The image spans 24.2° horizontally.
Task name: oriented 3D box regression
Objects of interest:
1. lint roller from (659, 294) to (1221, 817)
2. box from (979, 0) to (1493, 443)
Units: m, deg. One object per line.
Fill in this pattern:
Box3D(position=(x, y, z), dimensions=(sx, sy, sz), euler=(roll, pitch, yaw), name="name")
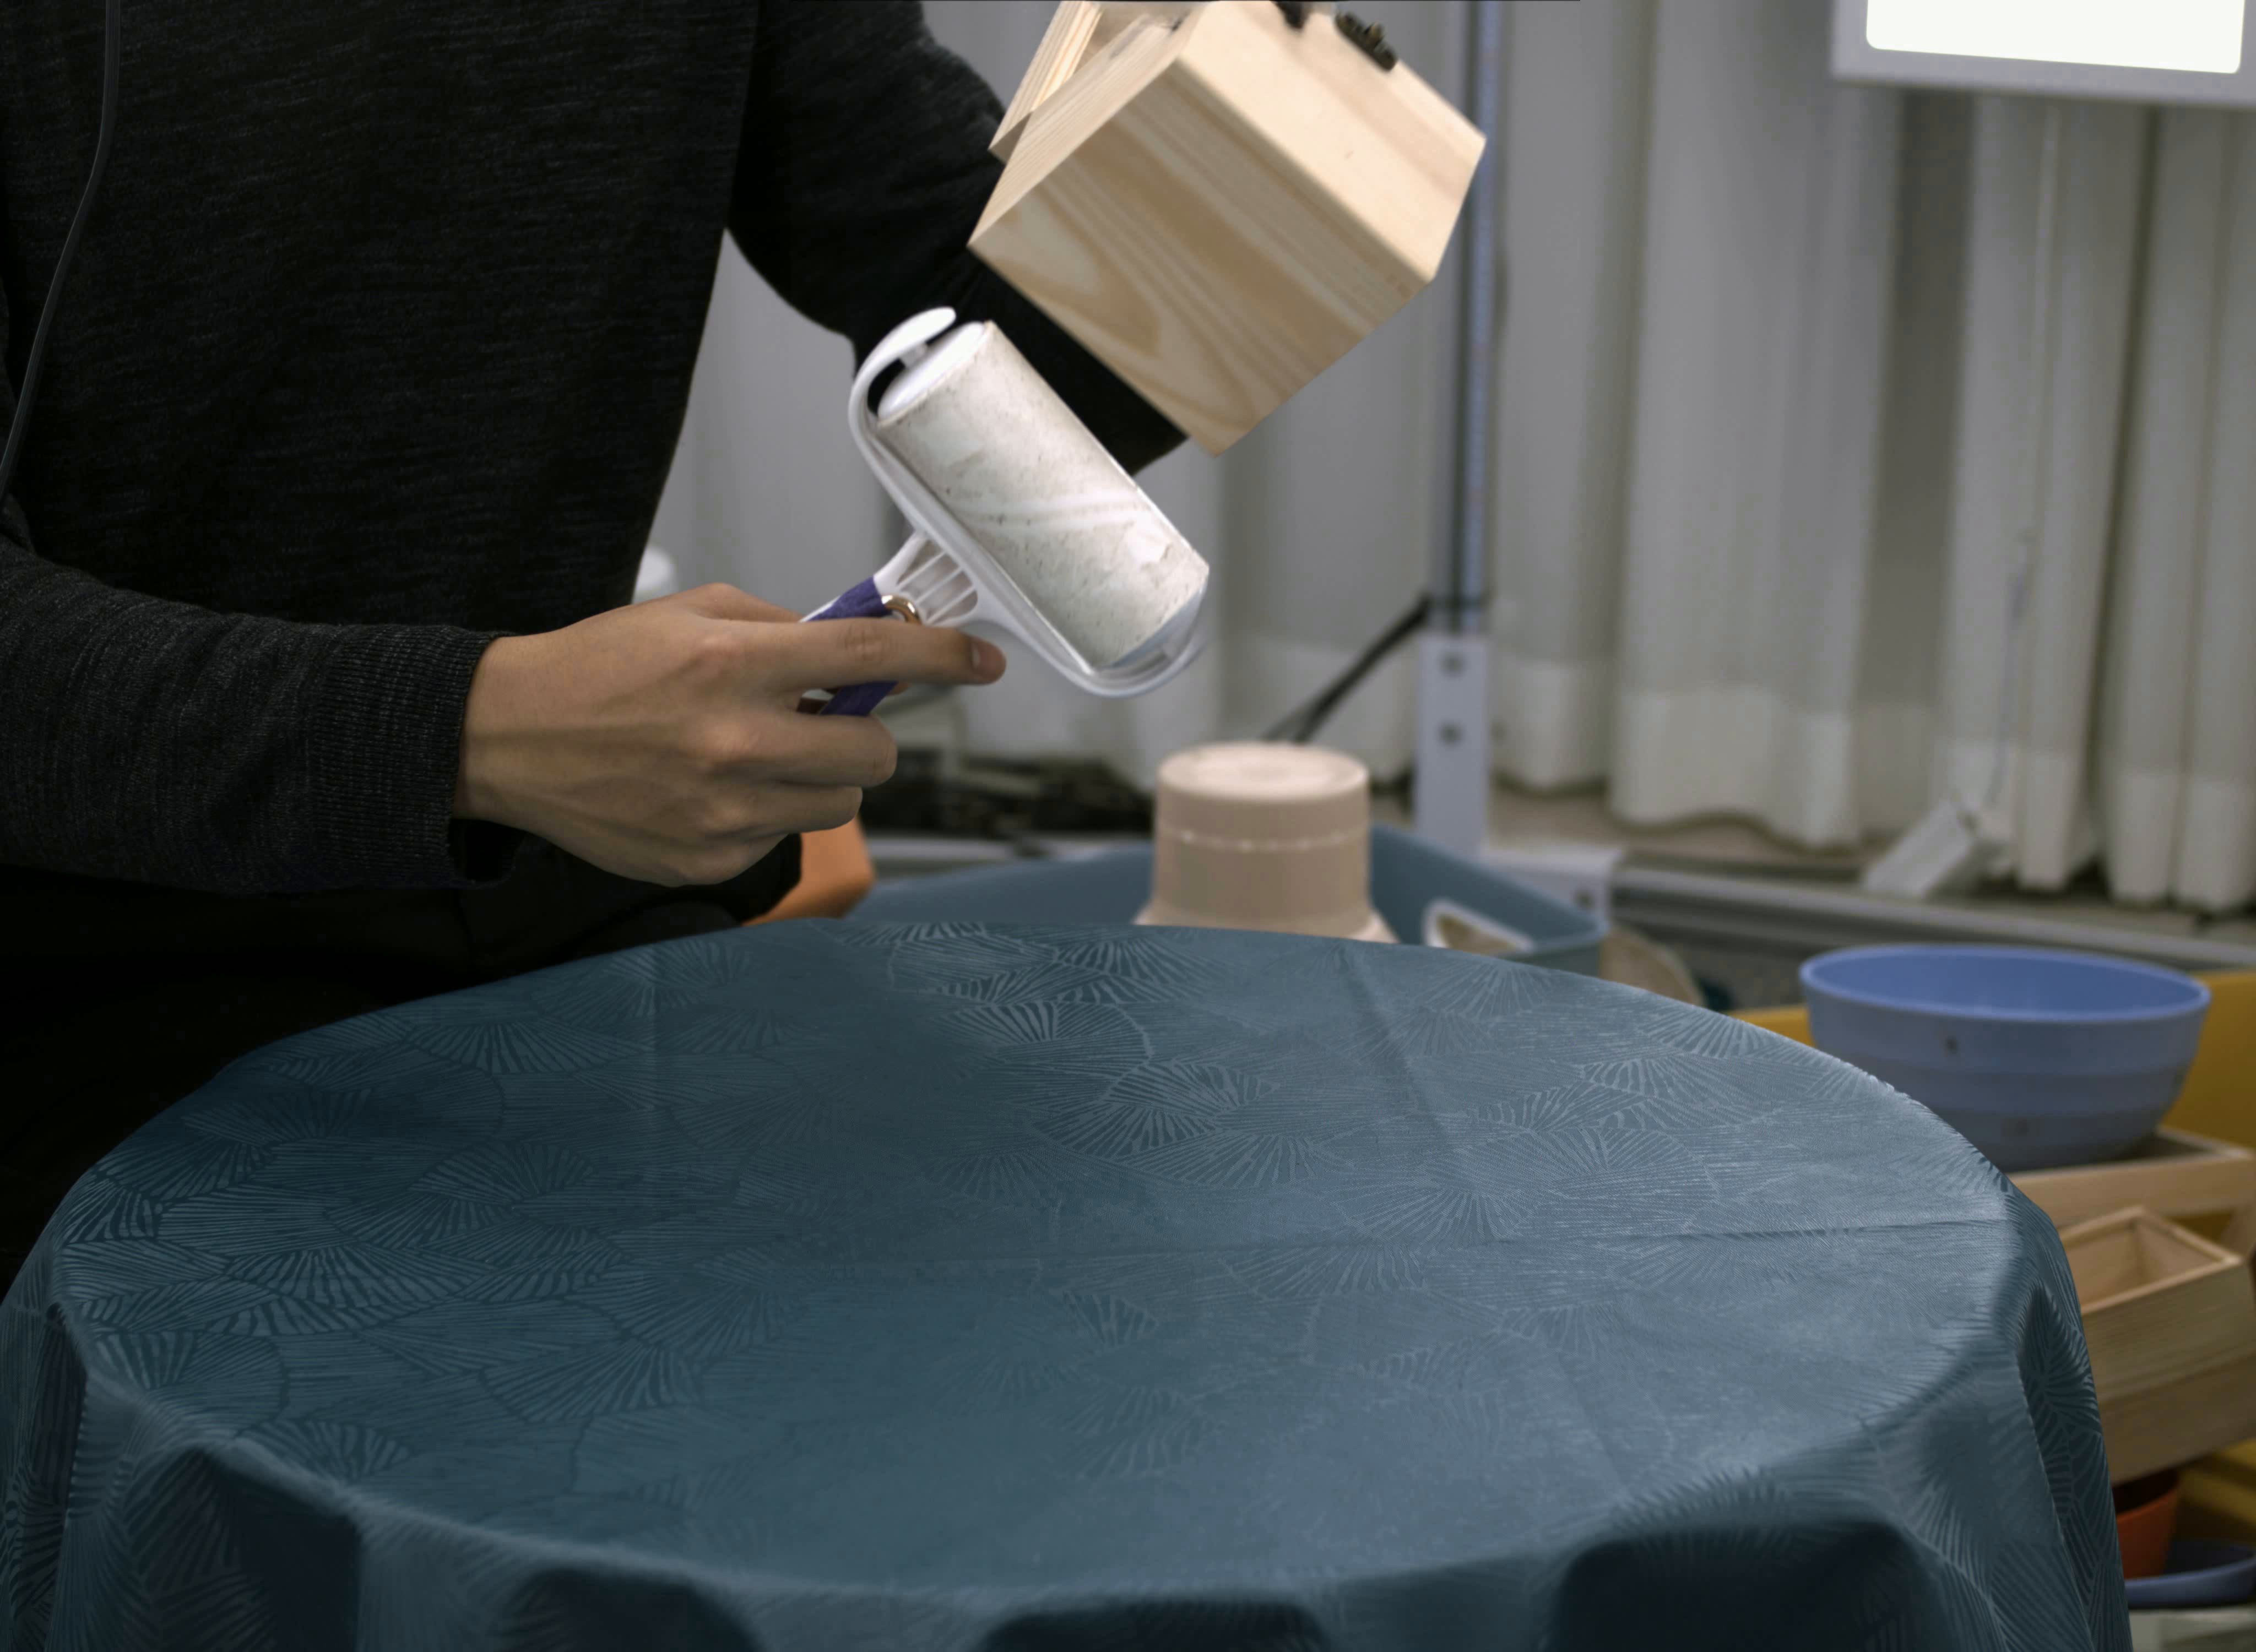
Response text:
Box3D(position=(-0.075, -0.061, 1.570), dimensions=(0.180, 0.134, 0.050), euler=(-39, 14, 10), name="lint roller")
Box3D(position=(0.040, -0.221, 1.608), dimensions=(0.133, 0.103, 0.183), euler=(-38, 20, 37), name="box")
